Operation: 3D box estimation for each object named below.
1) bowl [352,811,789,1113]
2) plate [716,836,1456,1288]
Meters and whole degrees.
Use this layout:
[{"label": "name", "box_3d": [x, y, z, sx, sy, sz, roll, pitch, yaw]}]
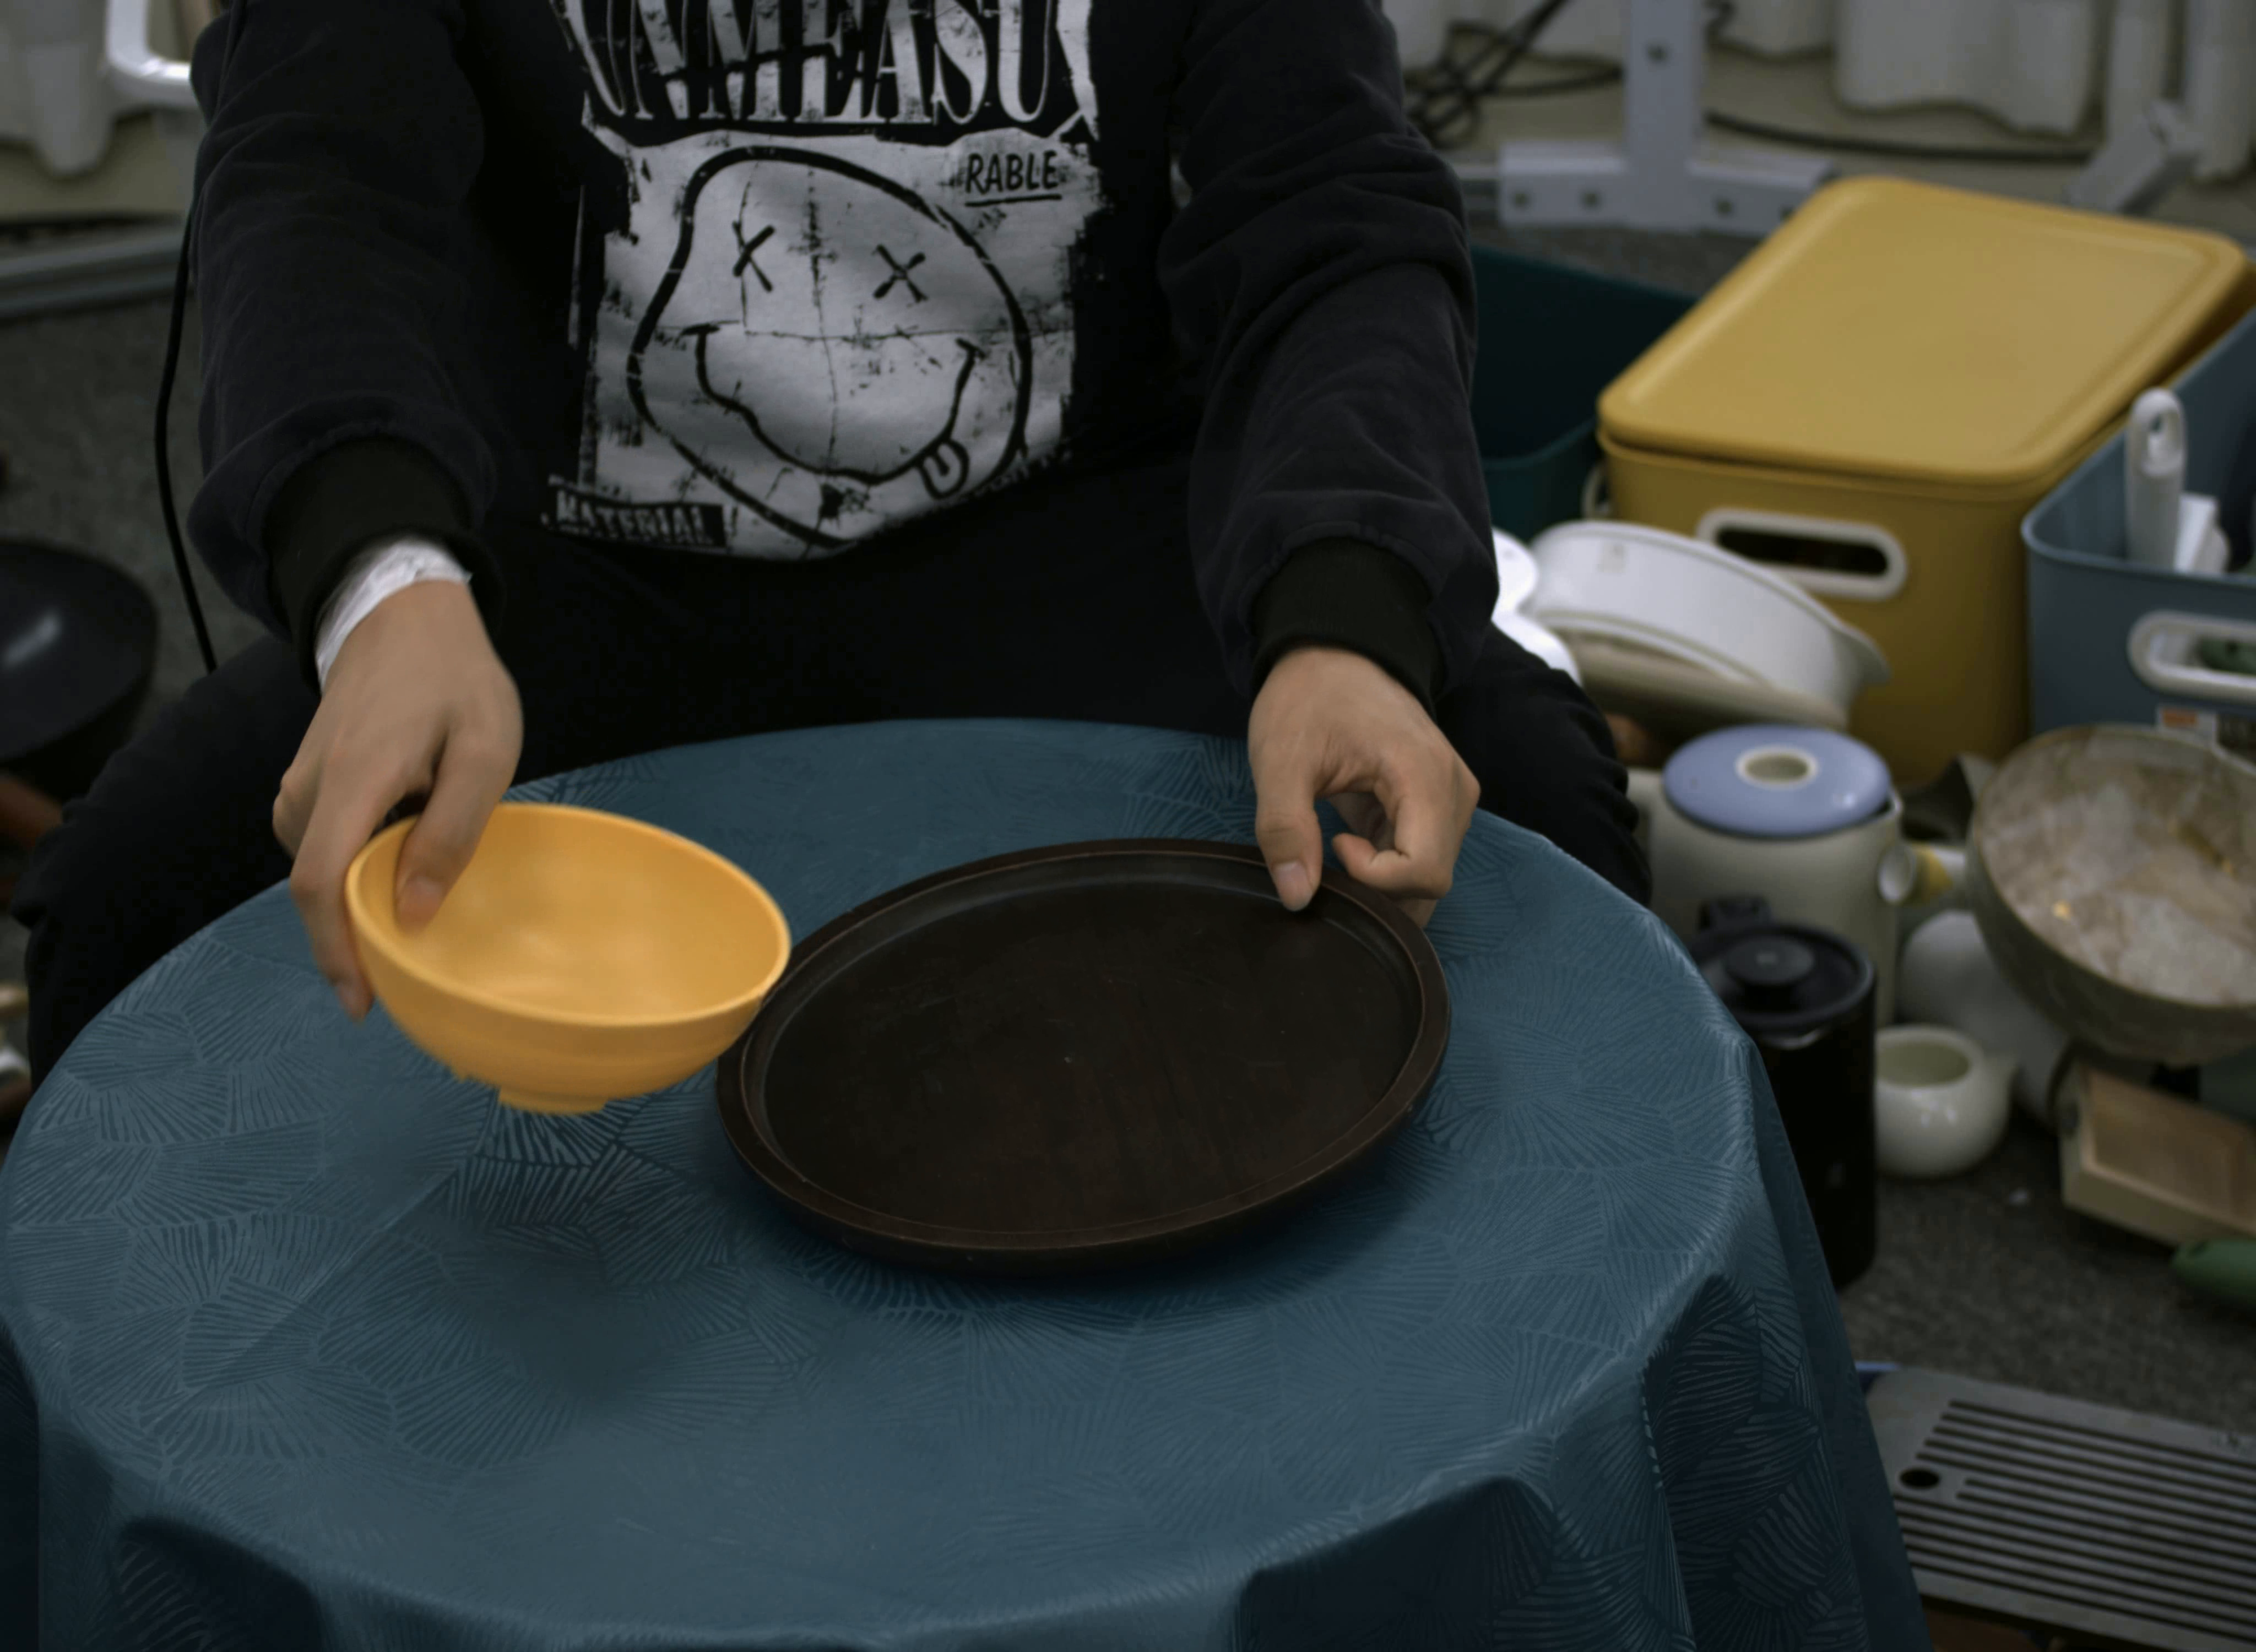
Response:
[{"label": "bowl", "box_3d": [-0.186, 0.052, 1.826, 0.145, 0.059, 0.147, 12, 22, -4]}, {"label": "plate", "box_3d": [-0.014, 0.078, 1.903, 0.253, 0.029, 0.259, -7, 29, 4]}]
